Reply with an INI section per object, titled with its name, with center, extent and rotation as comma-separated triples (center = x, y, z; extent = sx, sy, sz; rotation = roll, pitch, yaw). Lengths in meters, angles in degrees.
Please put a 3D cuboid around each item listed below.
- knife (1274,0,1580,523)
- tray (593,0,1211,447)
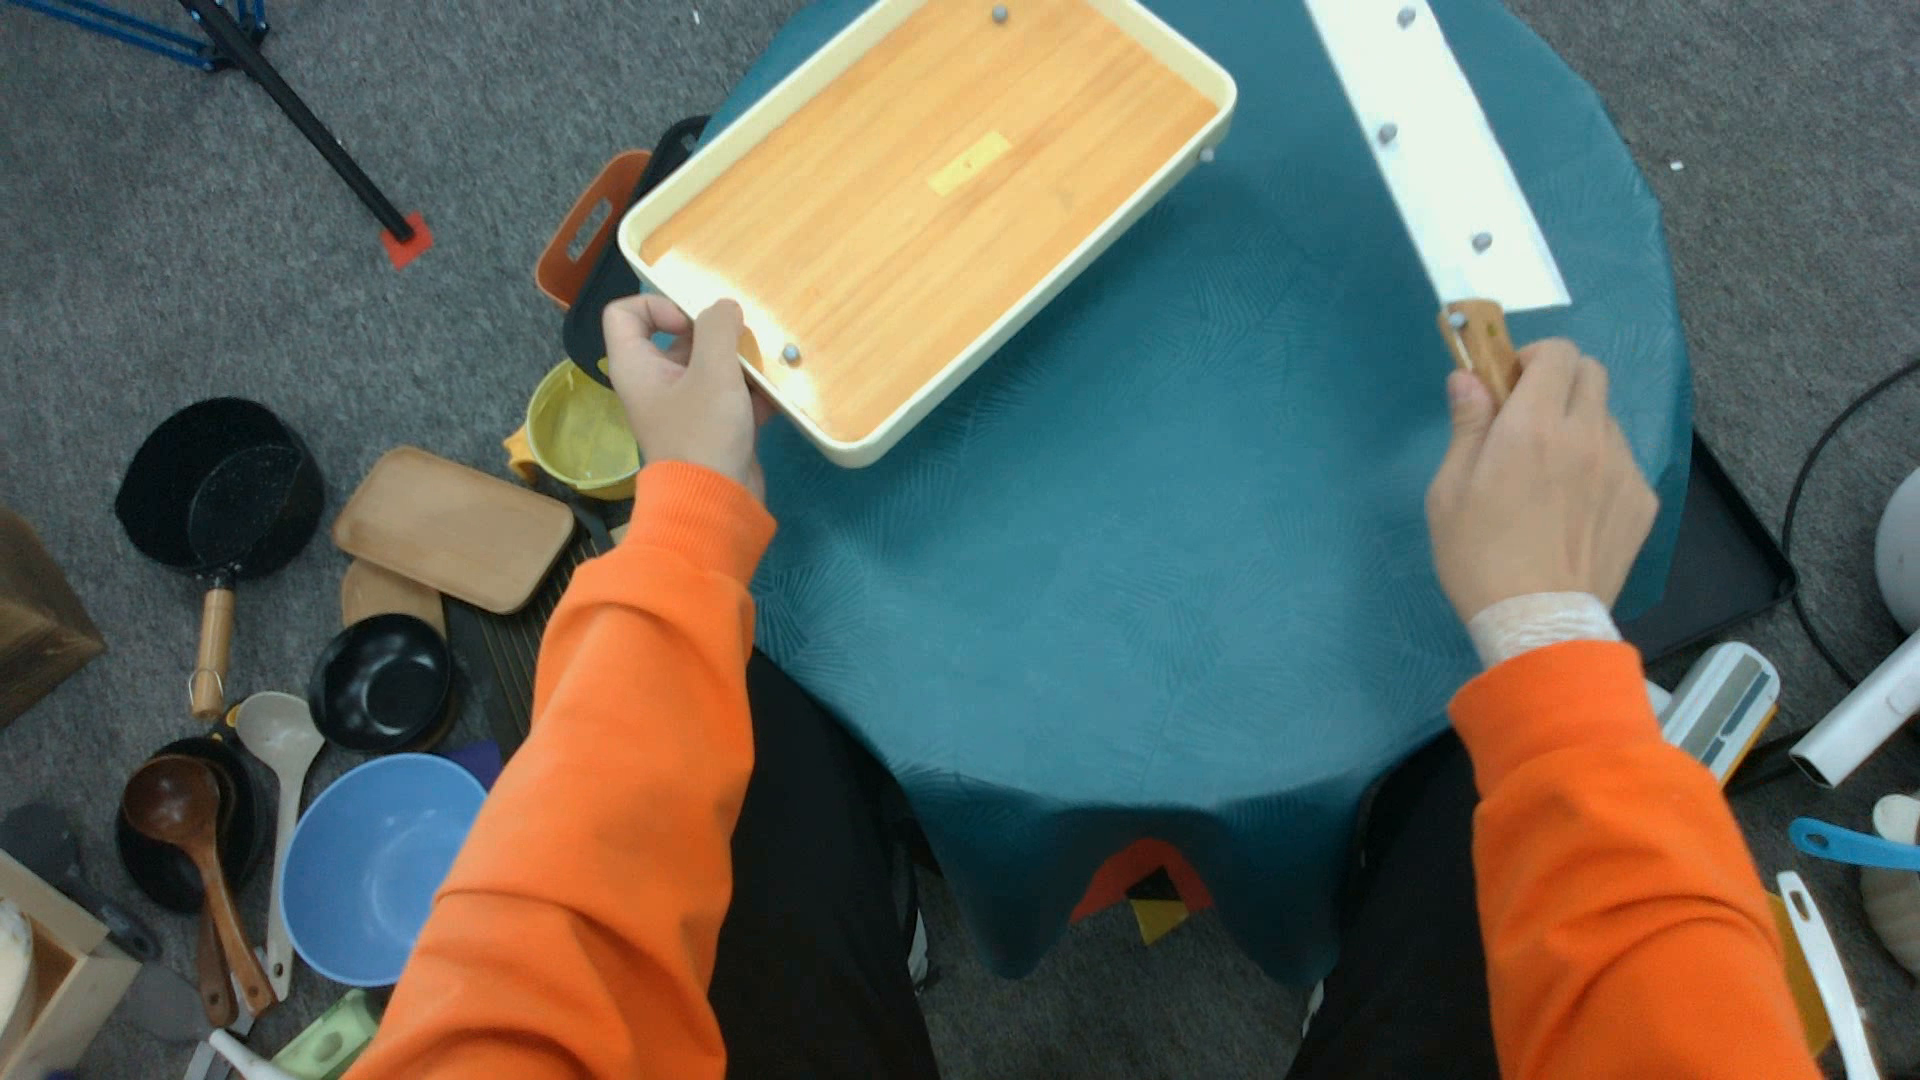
[knife]
center = 0.246, -0.155, 0.692
extent = 0.093, 0.021, 0.306
rotation = -12, 74, -30
[tray]
center = -0.029, -0.205, 0.744
extent = 0.301, 0.027, 0.191
rotation = -43, 74, -13
